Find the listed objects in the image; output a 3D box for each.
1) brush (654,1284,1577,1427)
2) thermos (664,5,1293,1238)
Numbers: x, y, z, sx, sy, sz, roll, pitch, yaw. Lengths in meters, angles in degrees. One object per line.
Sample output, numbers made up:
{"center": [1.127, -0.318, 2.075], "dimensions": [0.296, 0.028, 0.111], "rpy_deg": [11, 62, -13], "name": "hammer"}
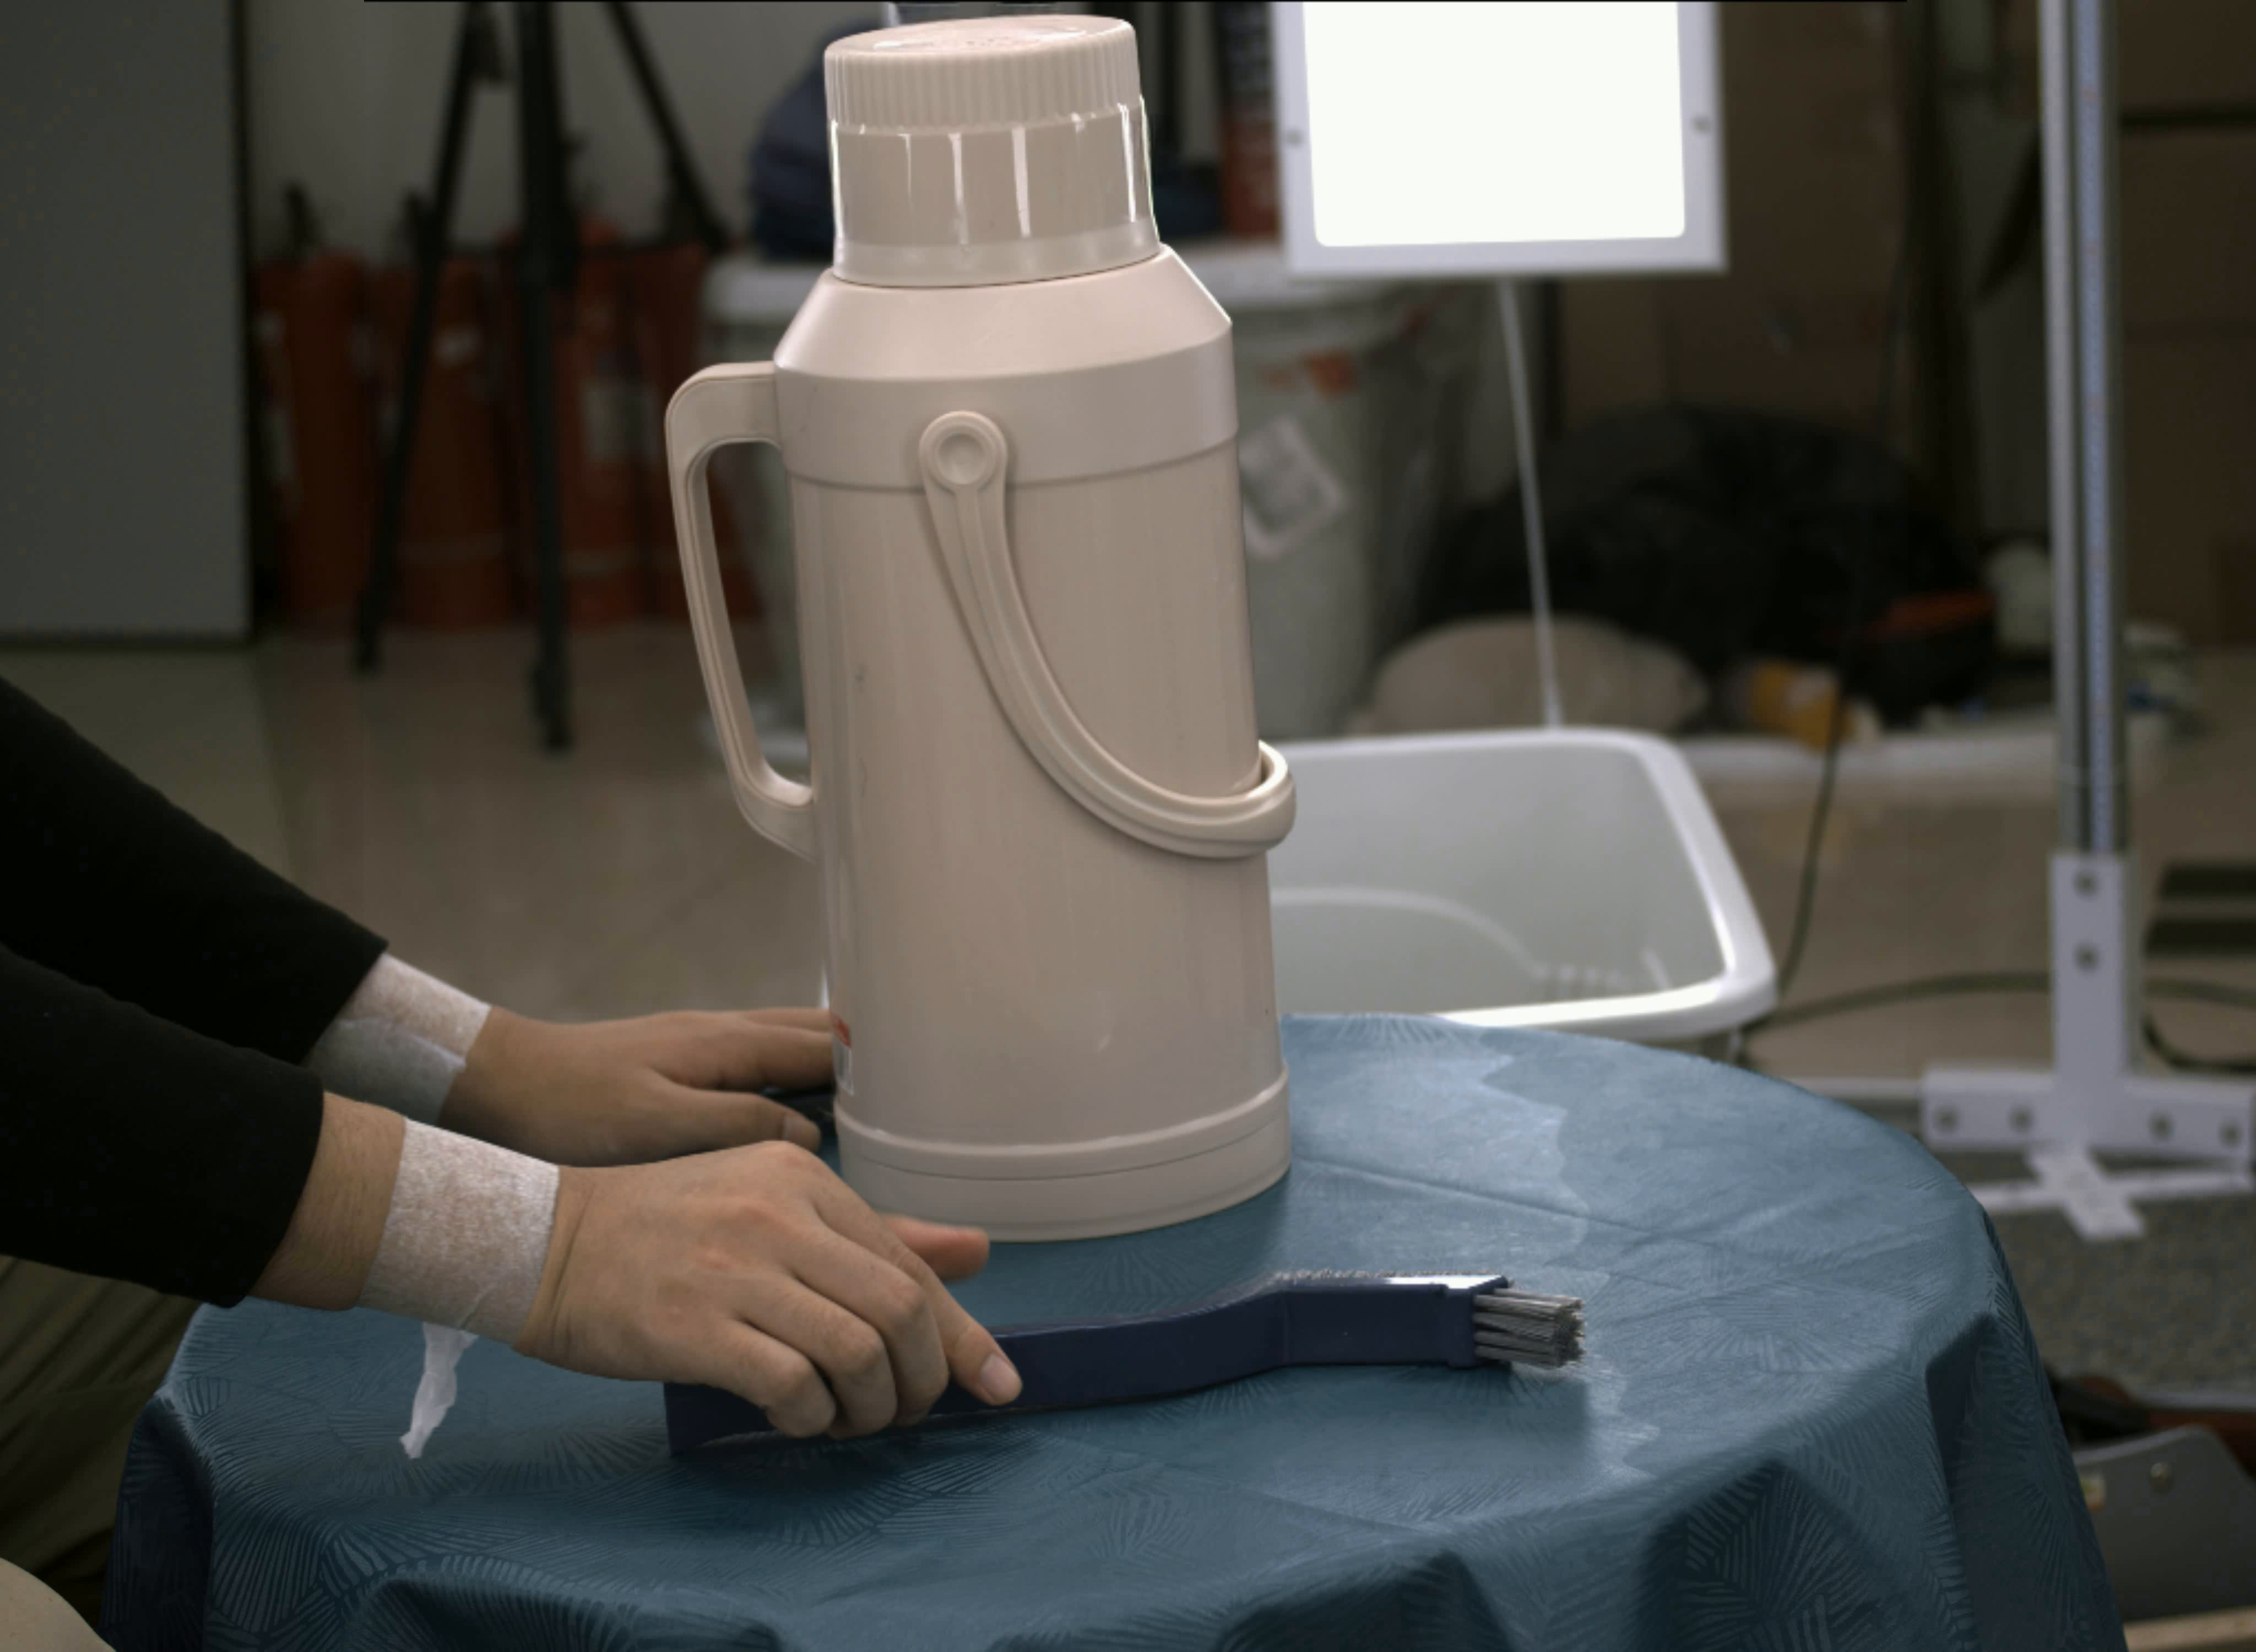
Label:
{"center": [-0.005, 0.162, 1.684], "dimensions": [0.270, 0.033, 0.096], "rpy_deg": [-5, 12, -10], "name": "brush"}
{"center": [-0.050, -0.071, 1.886], "dimensions": [0.208, 0.408, 0.173], "rpy_deg": [-2, 16, 10], "name": "thermos"}
